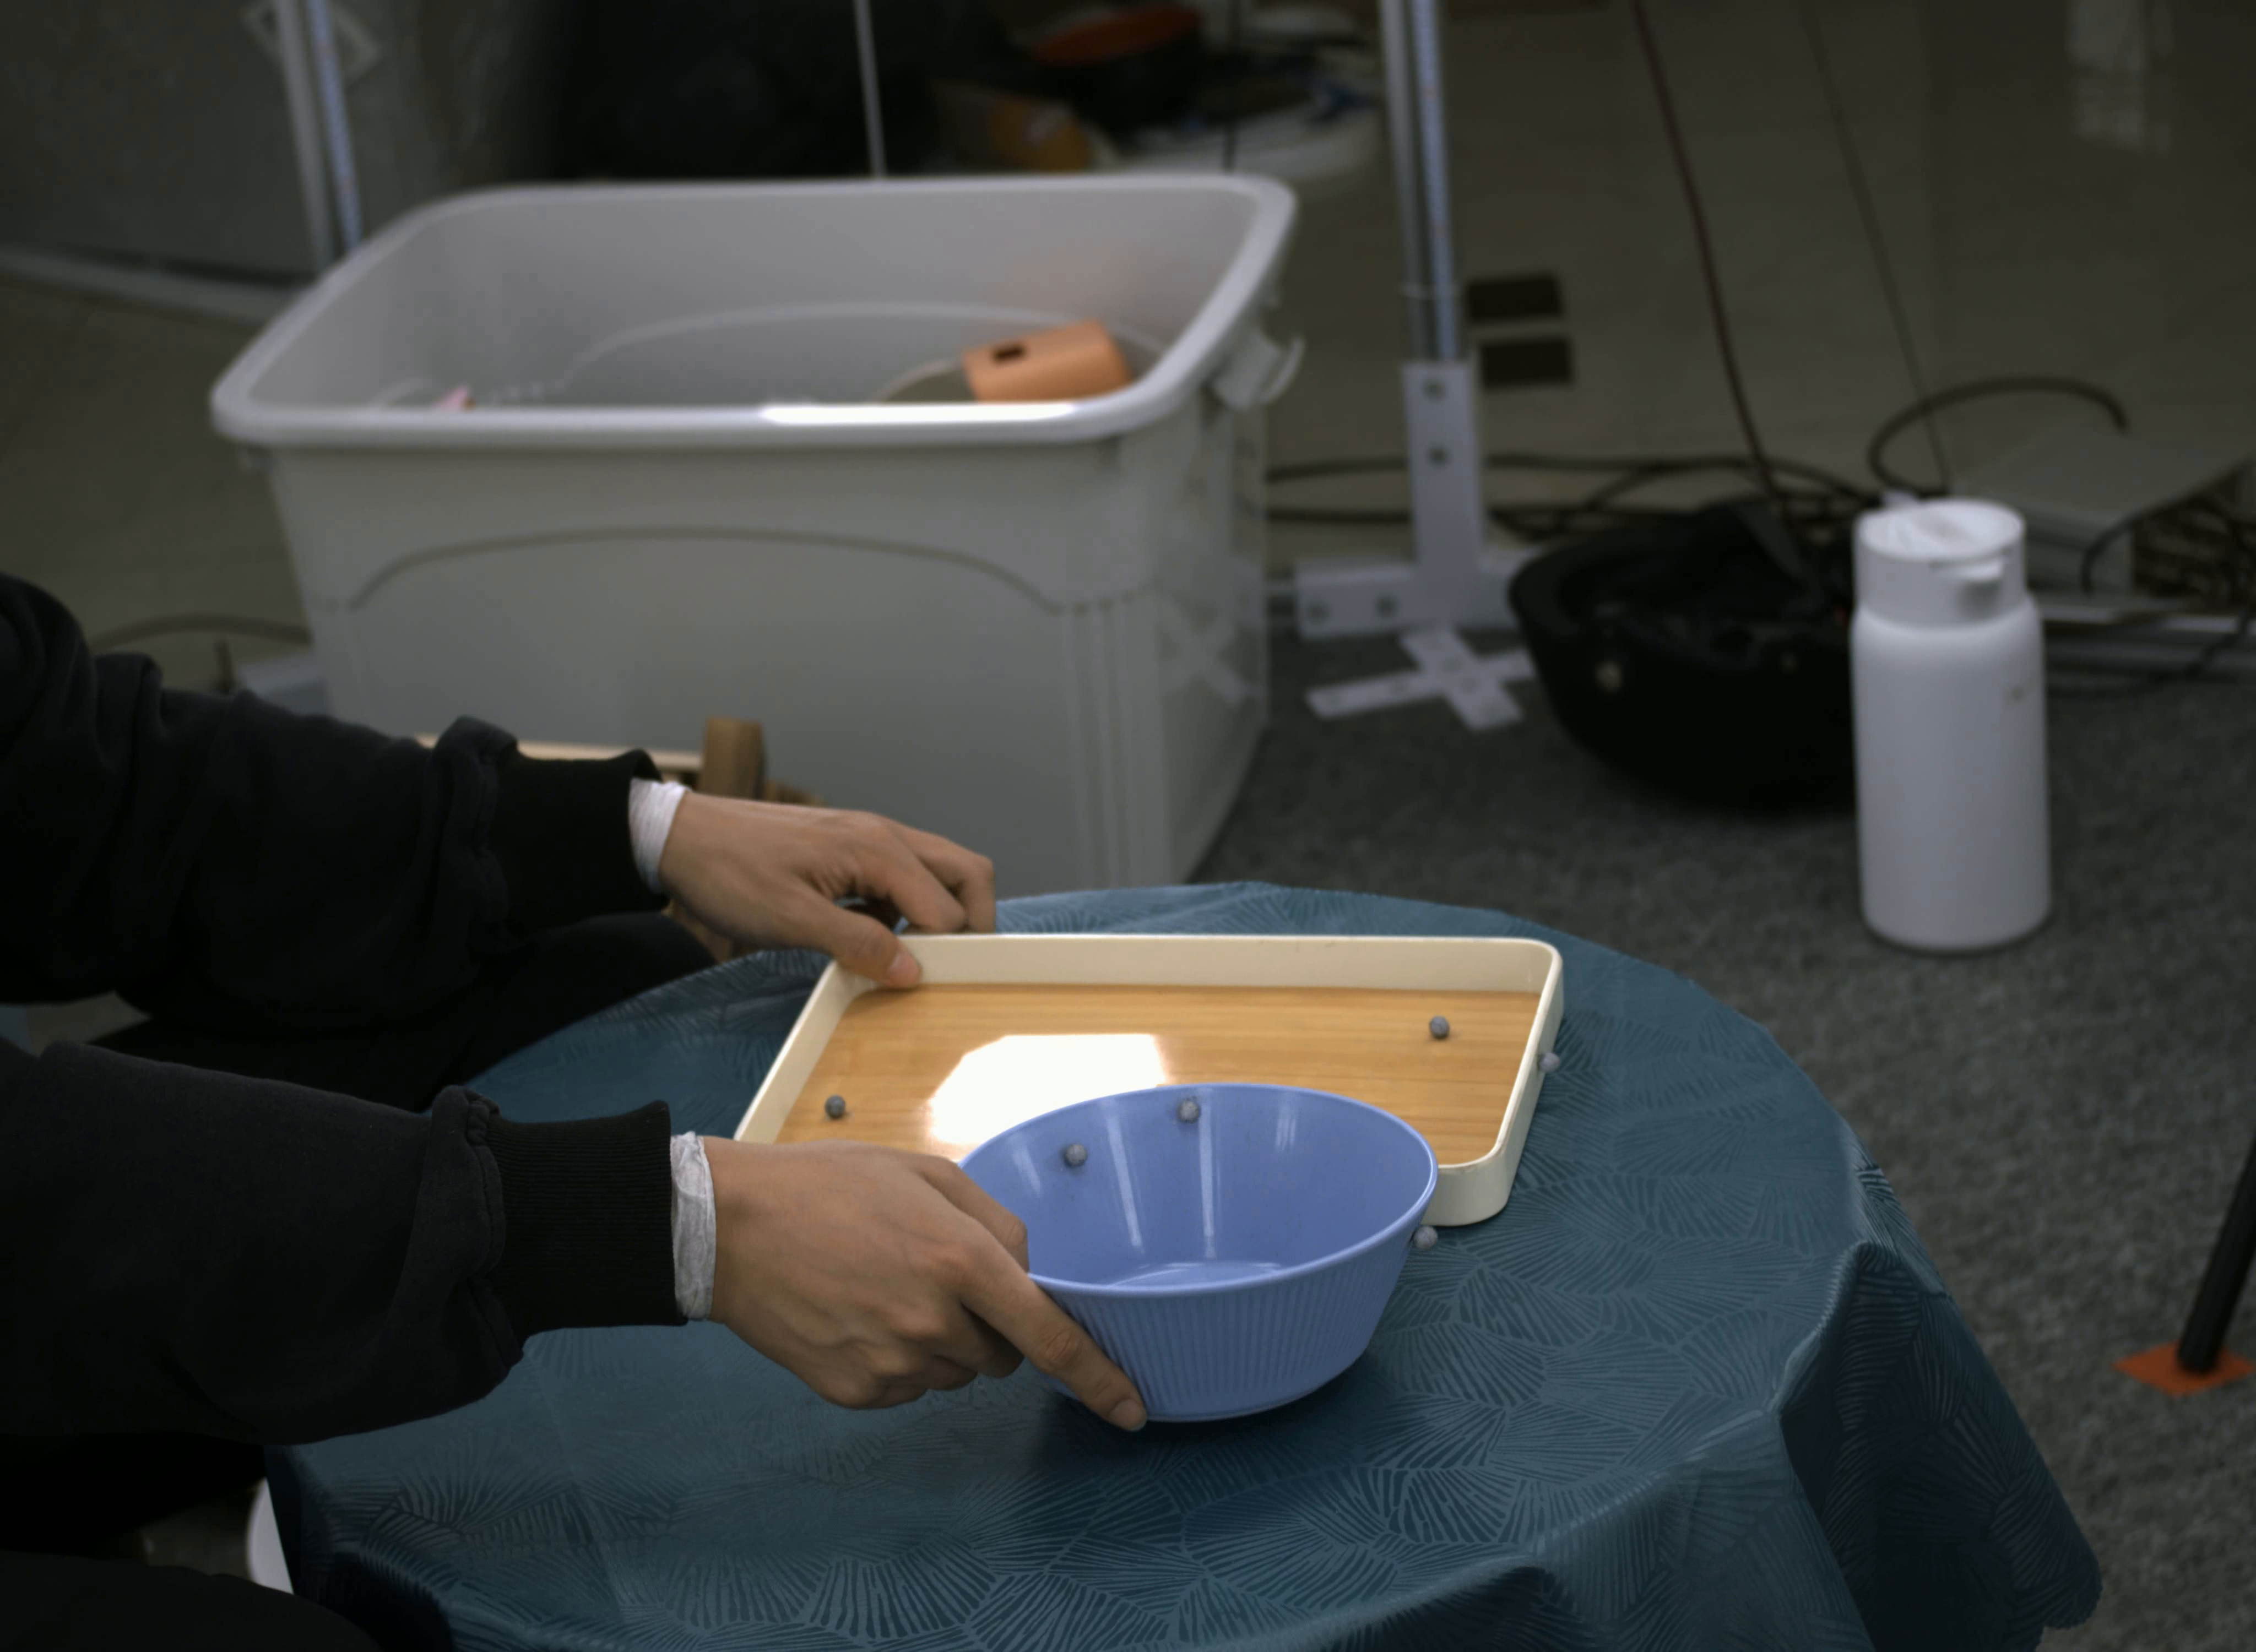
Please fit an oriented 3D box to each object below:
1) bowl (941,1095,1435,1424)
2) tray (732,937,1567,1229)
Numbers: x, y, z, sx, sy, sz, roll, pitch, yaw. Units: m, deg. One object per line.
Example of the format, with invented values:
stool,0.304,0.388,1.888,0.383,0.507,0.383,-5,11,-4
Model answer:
bowl,0.023,0.158,2.009,0.176,0.071,0.174,-4,20,2
tray,0.011,0.098,2.205,0.299,0.028,0.189,0,26,13
